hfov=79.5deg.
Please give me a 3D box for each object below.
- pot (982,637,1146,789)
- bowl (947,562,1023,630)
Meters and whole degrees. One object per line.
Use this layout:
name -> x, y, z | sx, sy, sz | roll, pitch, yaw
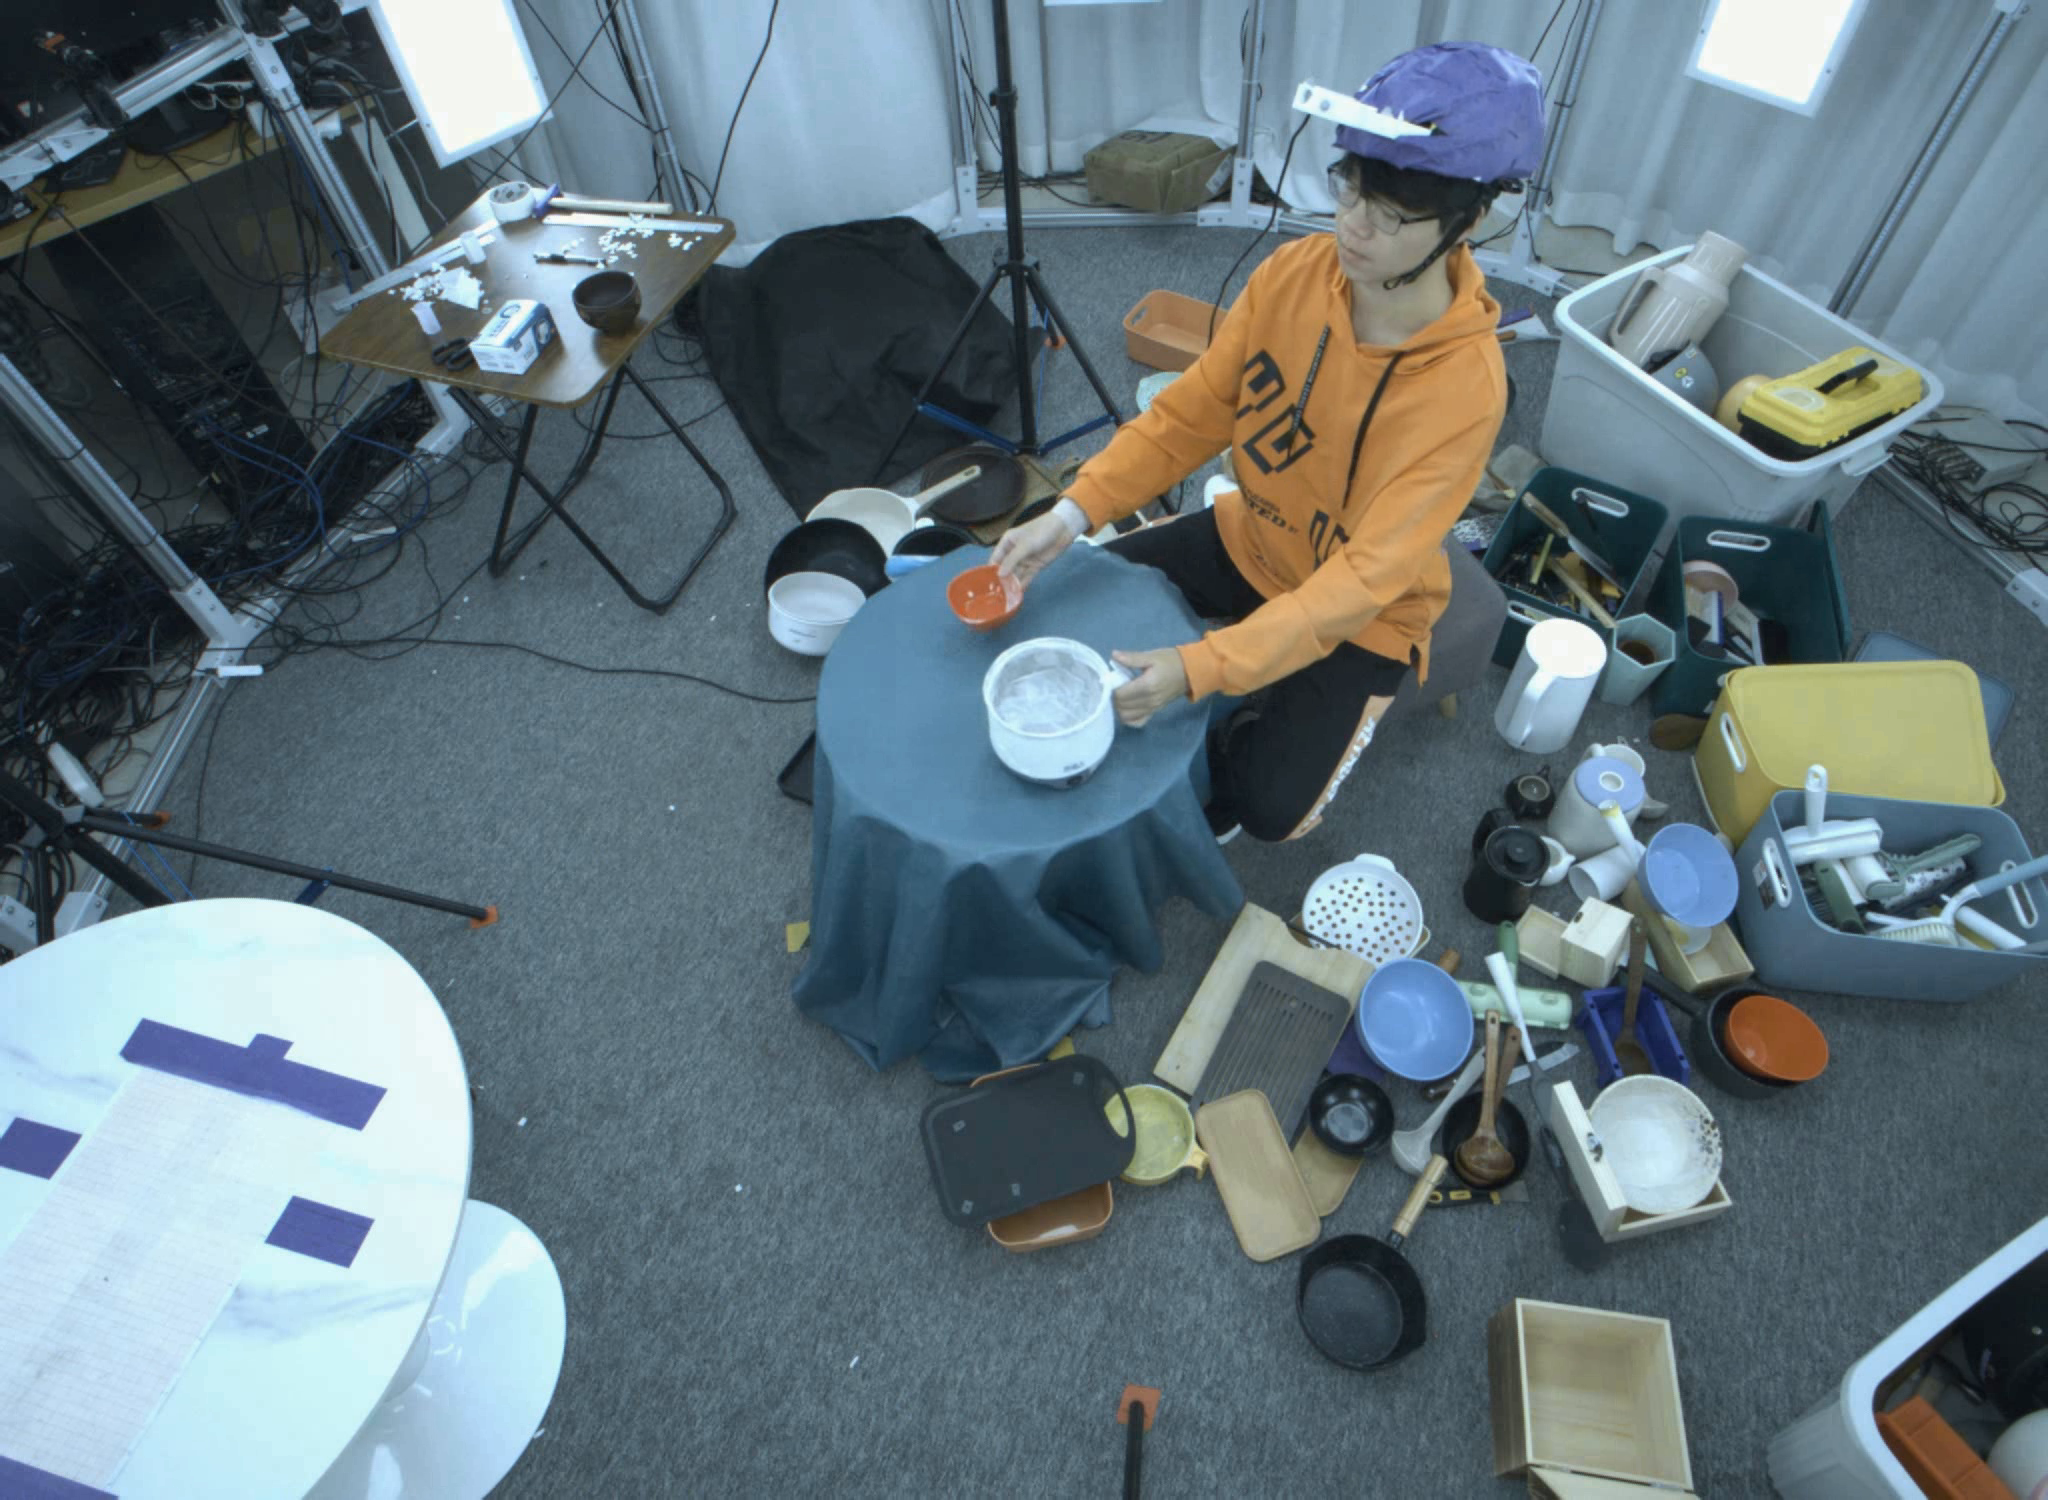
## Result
pot -> 0.062, -0.060, 1.741 | 0.235, 0.138, 0.175 | -21, 57, -10
bowl -> -0.058, -0.226, 1.867 | 0.118, 0.052, 0.118 | -2, 55, 4
